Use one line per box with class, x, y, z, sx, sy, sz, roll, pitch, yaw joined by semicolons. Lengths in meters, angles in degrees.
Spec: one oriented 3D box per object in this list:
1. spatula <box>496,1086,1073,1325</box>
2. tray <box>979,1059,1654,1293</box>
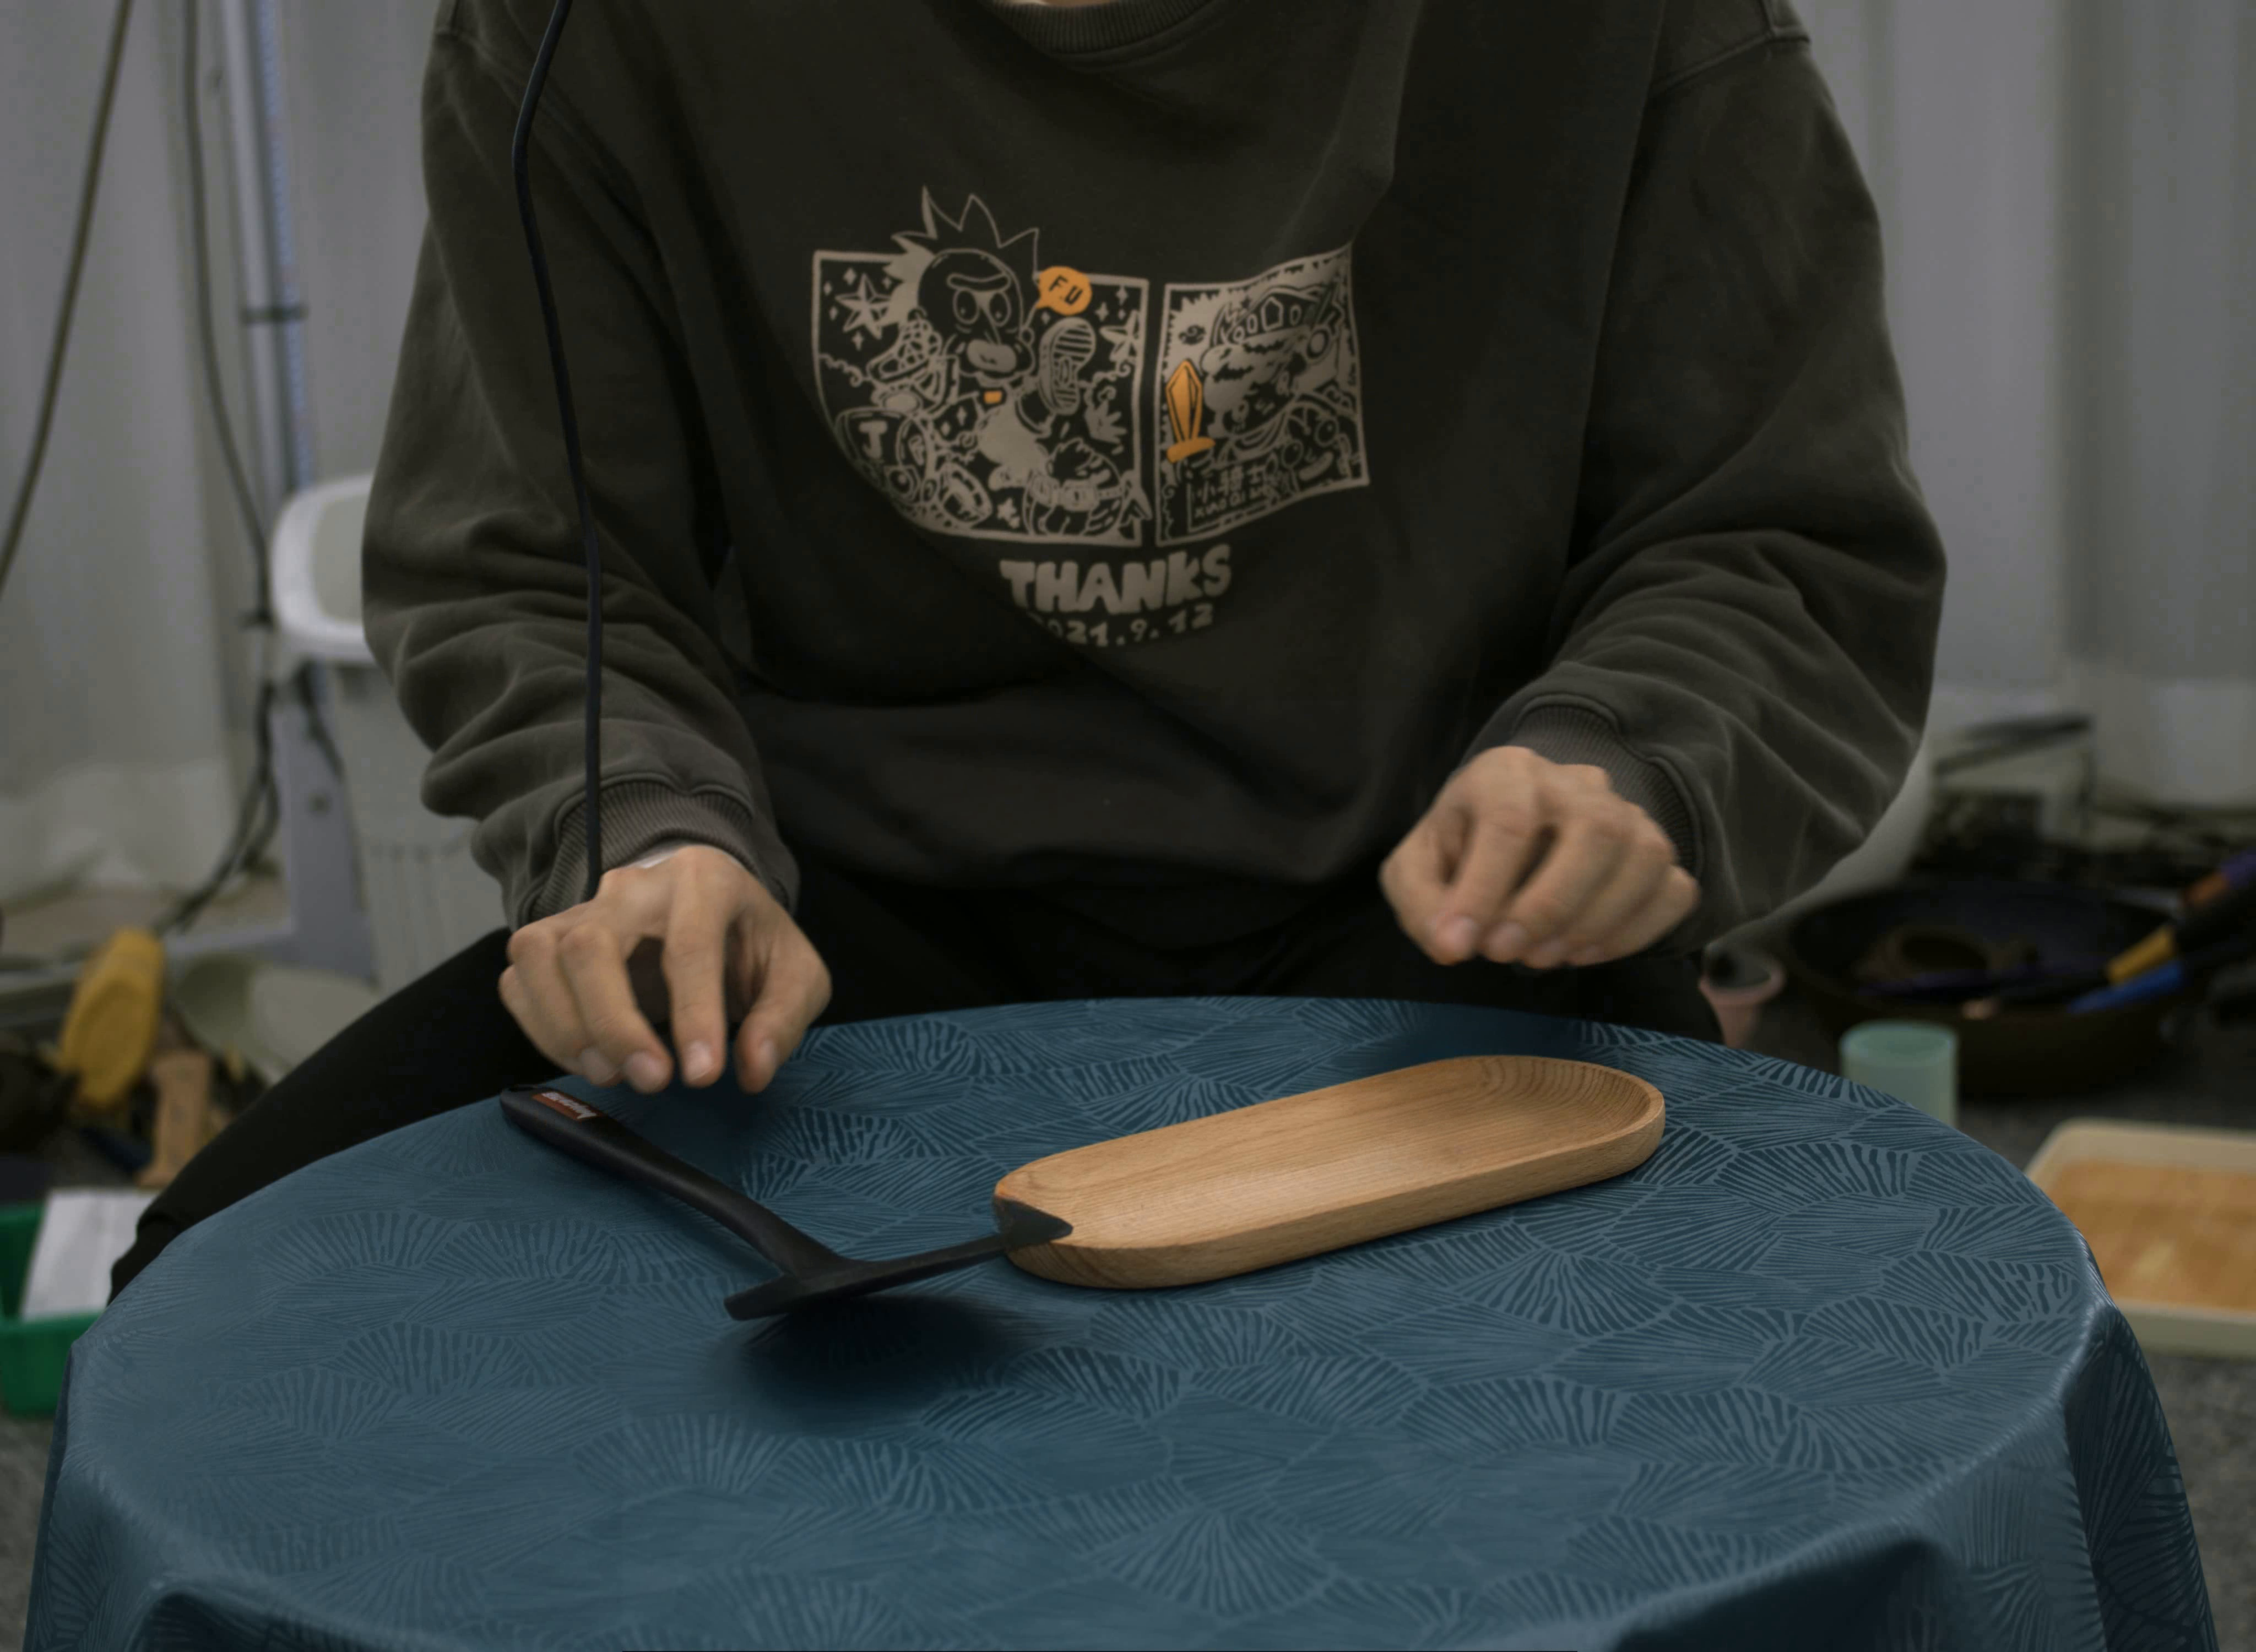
spatula;-0.130;0.110;1.696;0.099;0.040;0.328;-10;16;-27
tray;0.061;0.108;1.704;0.230;0.020;0.102;-13;17;-29
